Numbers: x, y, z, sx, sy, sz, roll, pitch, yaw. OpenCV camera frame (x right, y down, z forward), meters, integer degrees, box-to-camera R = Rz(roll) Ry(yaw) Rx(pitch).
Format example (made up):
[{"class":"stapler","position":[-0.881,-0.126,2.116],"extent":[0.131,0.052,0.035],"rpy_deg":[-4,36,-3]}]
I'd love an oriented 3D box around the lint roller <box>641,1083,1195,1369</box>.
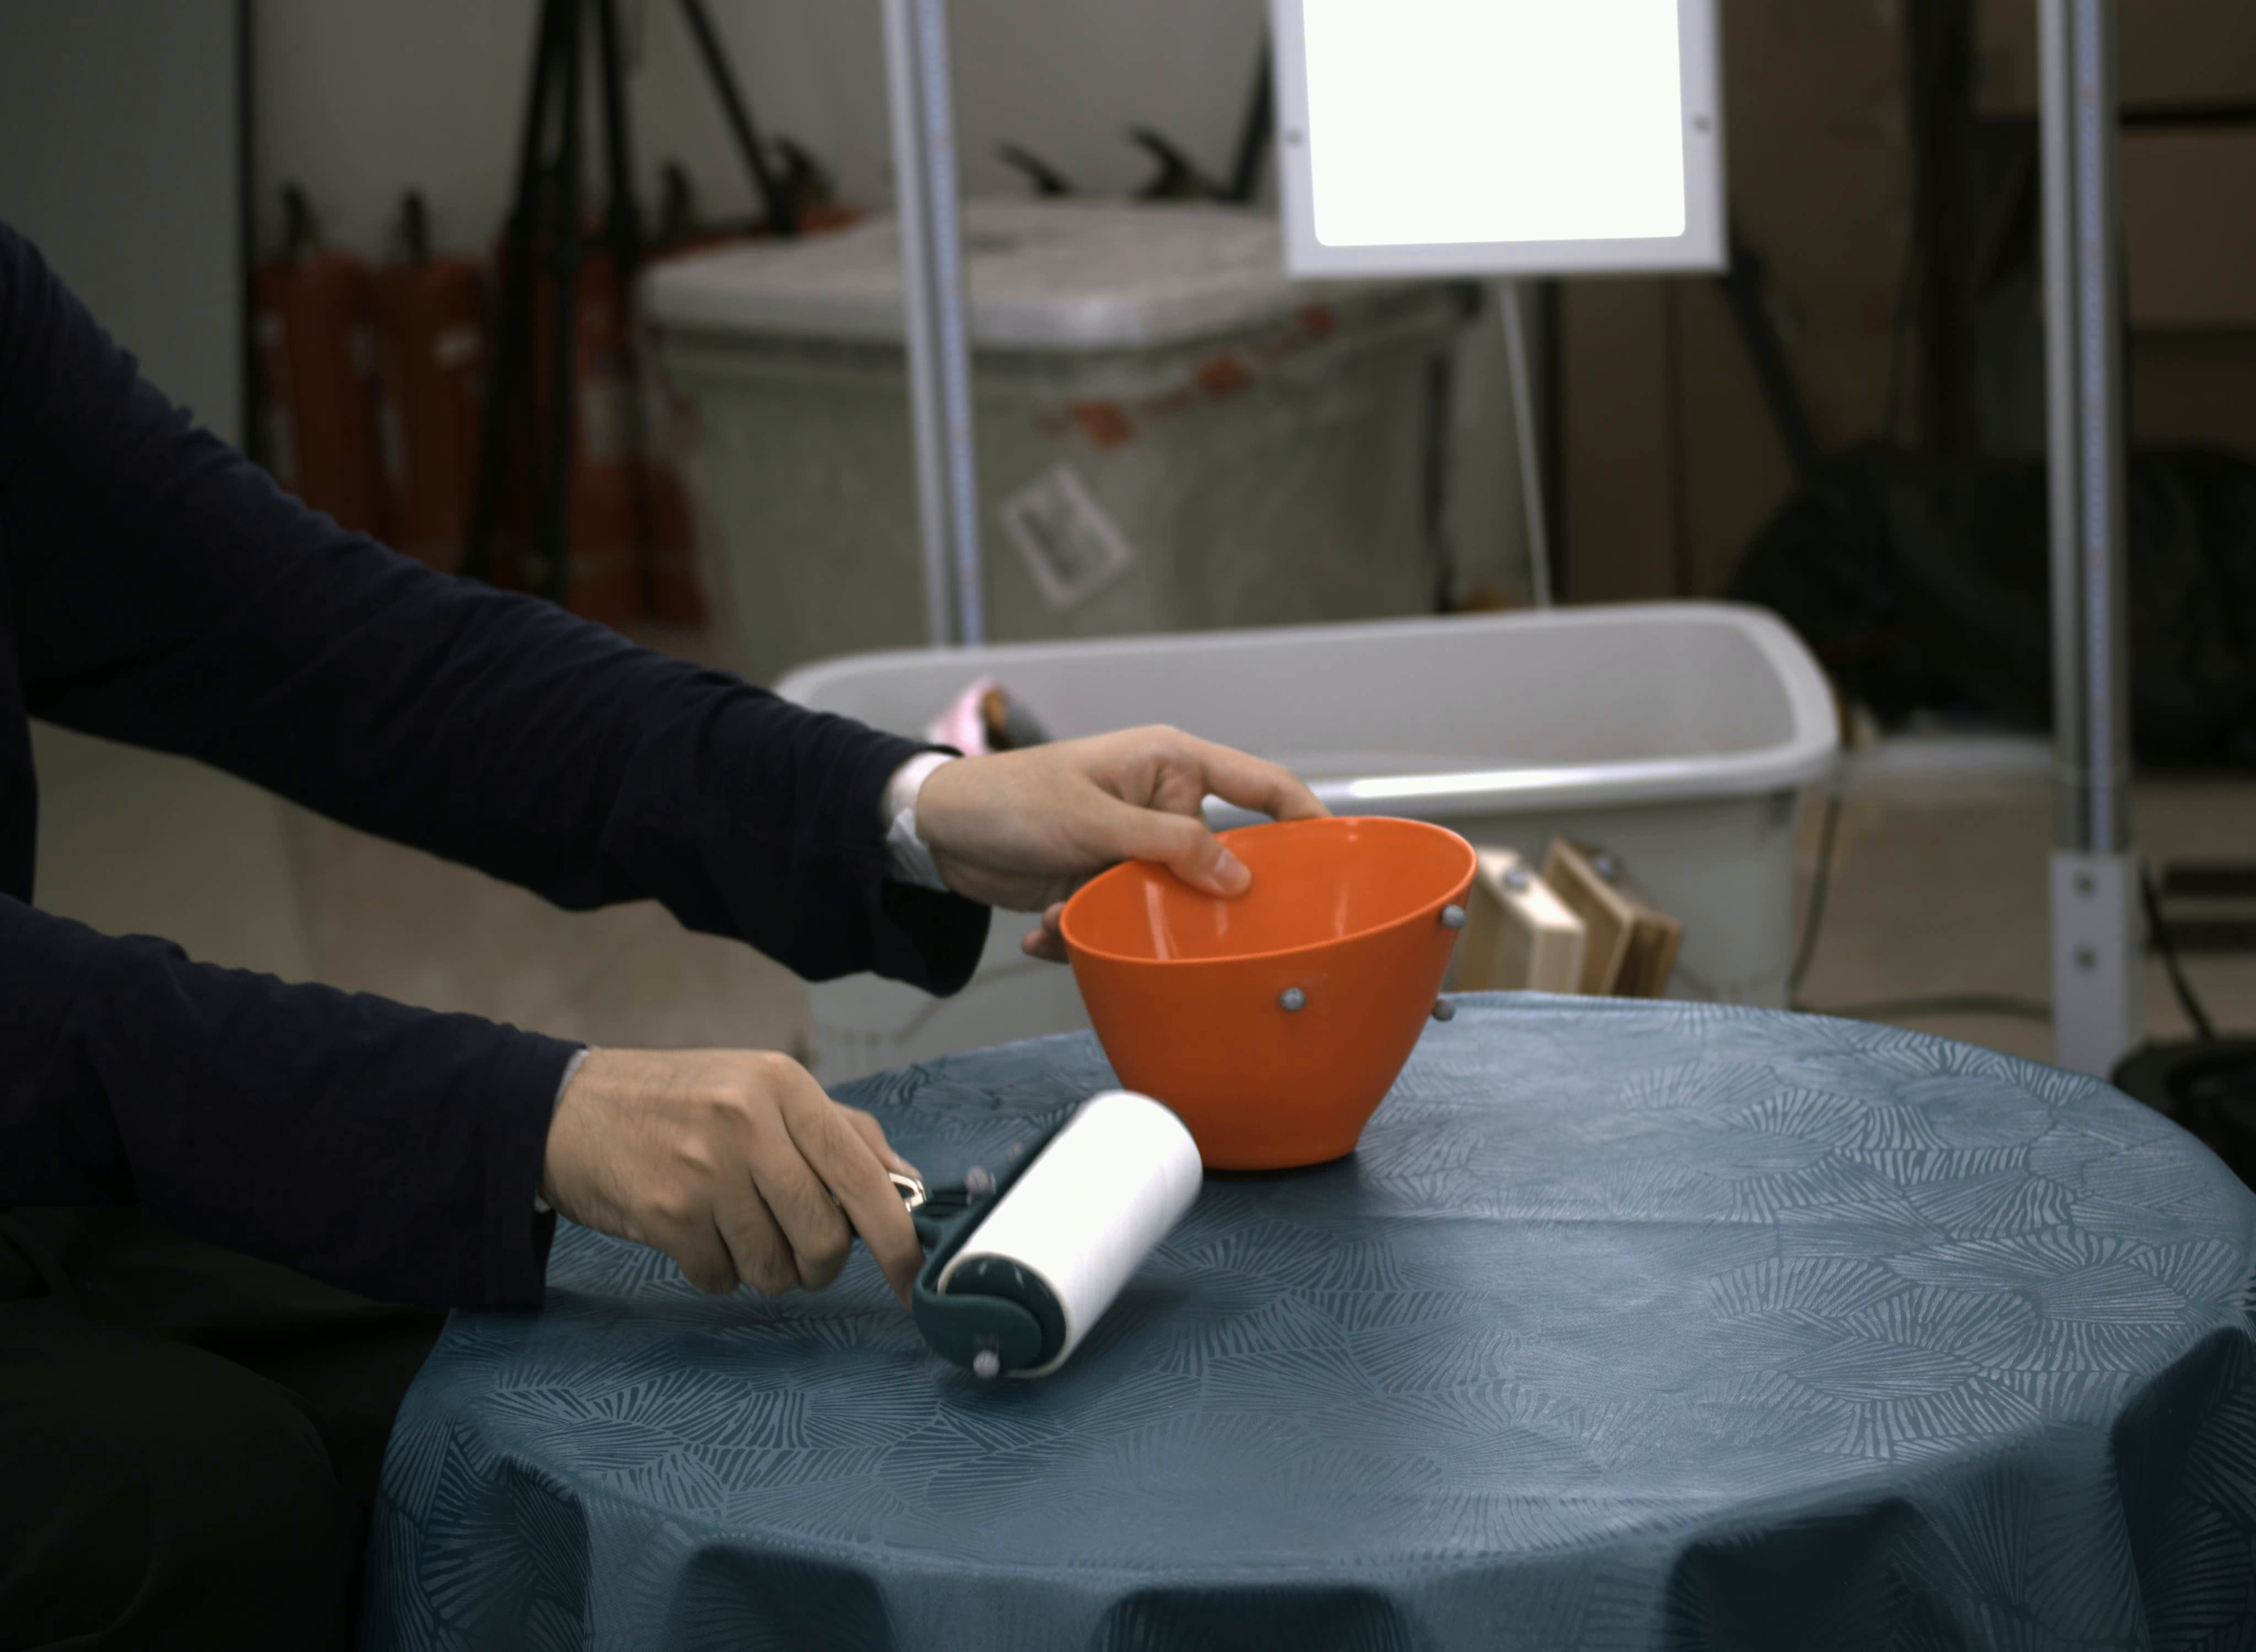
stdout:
[{"class":"lint roller","position":[-0.079,0.118,1.784],"extent":[0.183,0.048,0.132],"rpy_deg":[8,32,24]}]

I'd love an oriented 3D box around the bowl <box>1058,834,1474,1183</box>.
[{"class":"bowl","position":[0.051,0.066,1.929],"extent":[0.147,0.105,0.148],"rpy_deg":[-5,8,-1]}]
